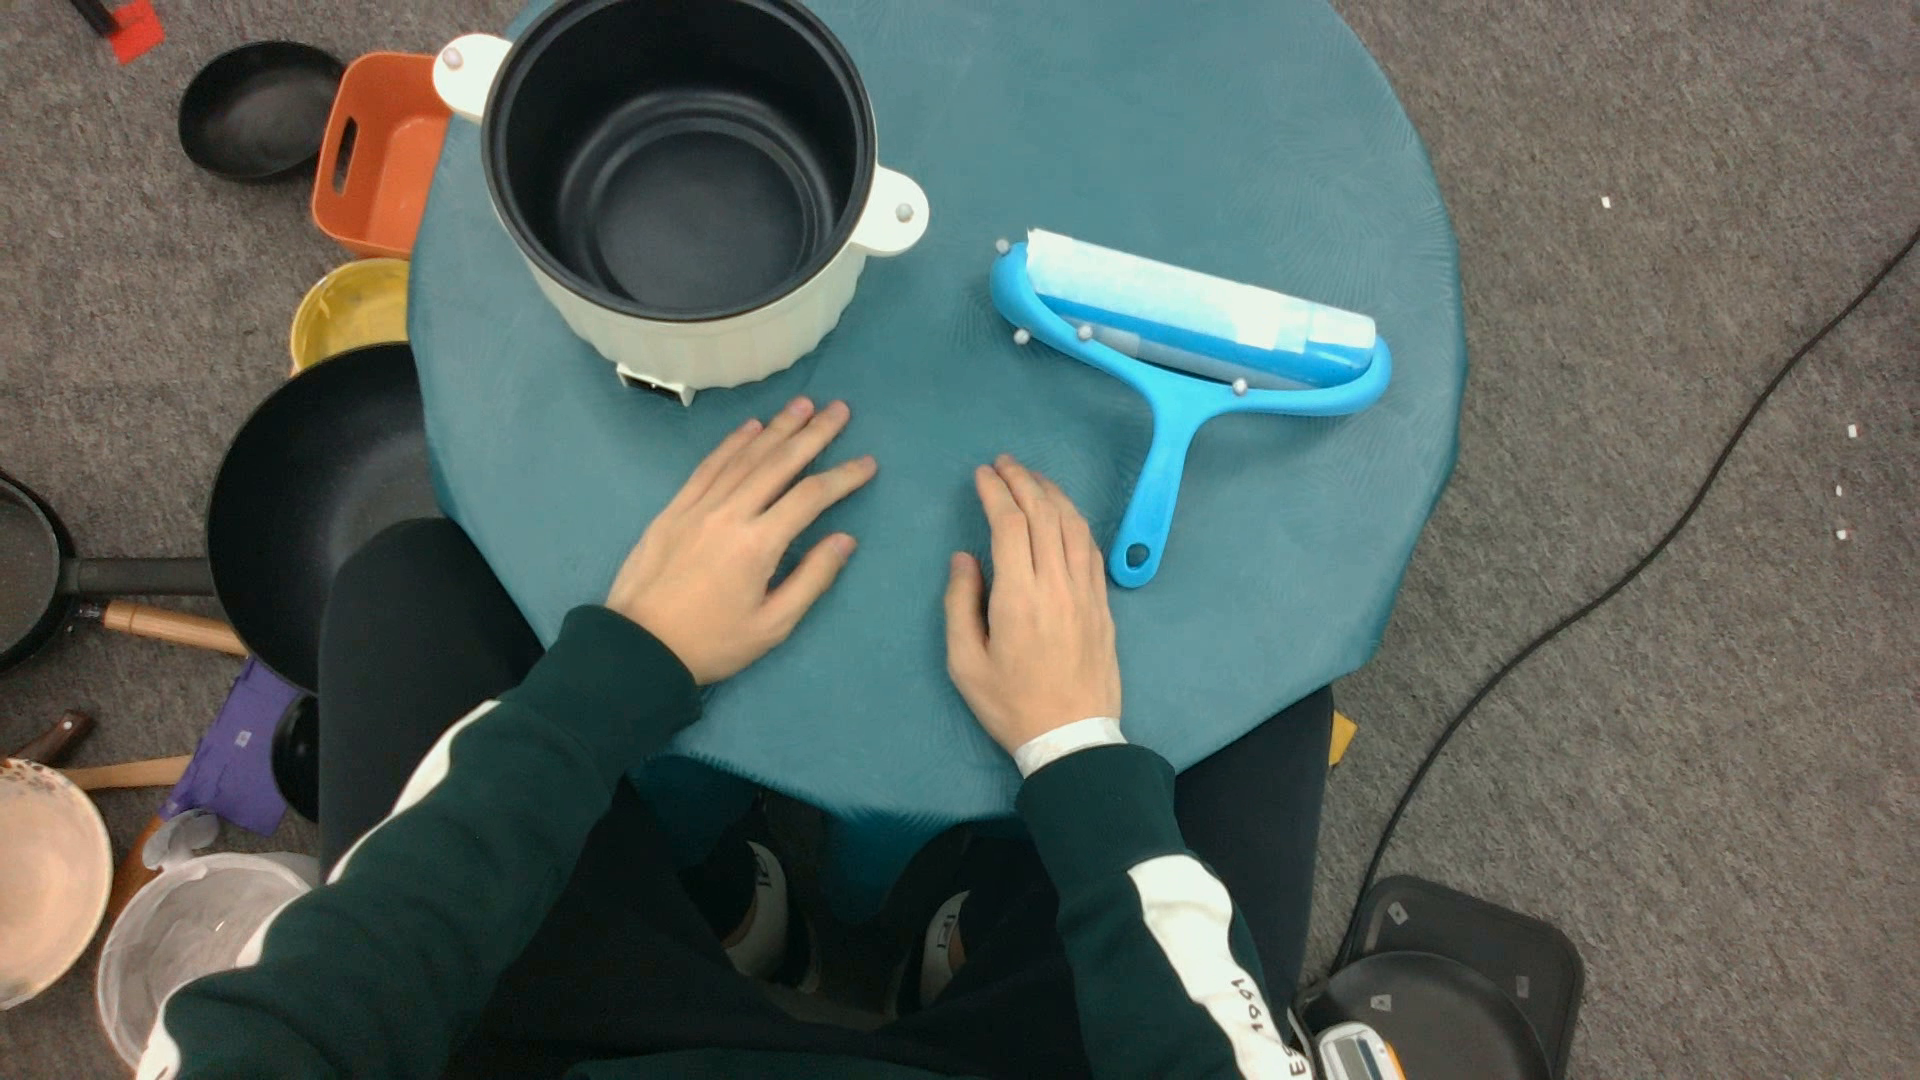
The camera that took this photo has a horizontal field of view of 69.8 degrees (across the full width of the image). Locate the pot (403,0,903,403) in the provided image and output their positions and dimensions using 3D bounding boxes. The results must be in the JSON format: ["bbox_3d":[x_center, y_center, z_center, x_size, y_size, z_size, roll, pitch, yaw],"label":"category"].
[{"bbox_3d":[-0.149,-0.179,0.710,0.240,0.142,0.191,16,79,-3],"label":"pot"}]

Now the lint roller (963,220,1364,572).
[{"bbox_3d":[0.105,-0.075,0.753,0.229,0.068,0.180,11,75,-5],"label":"lint roller"}]
